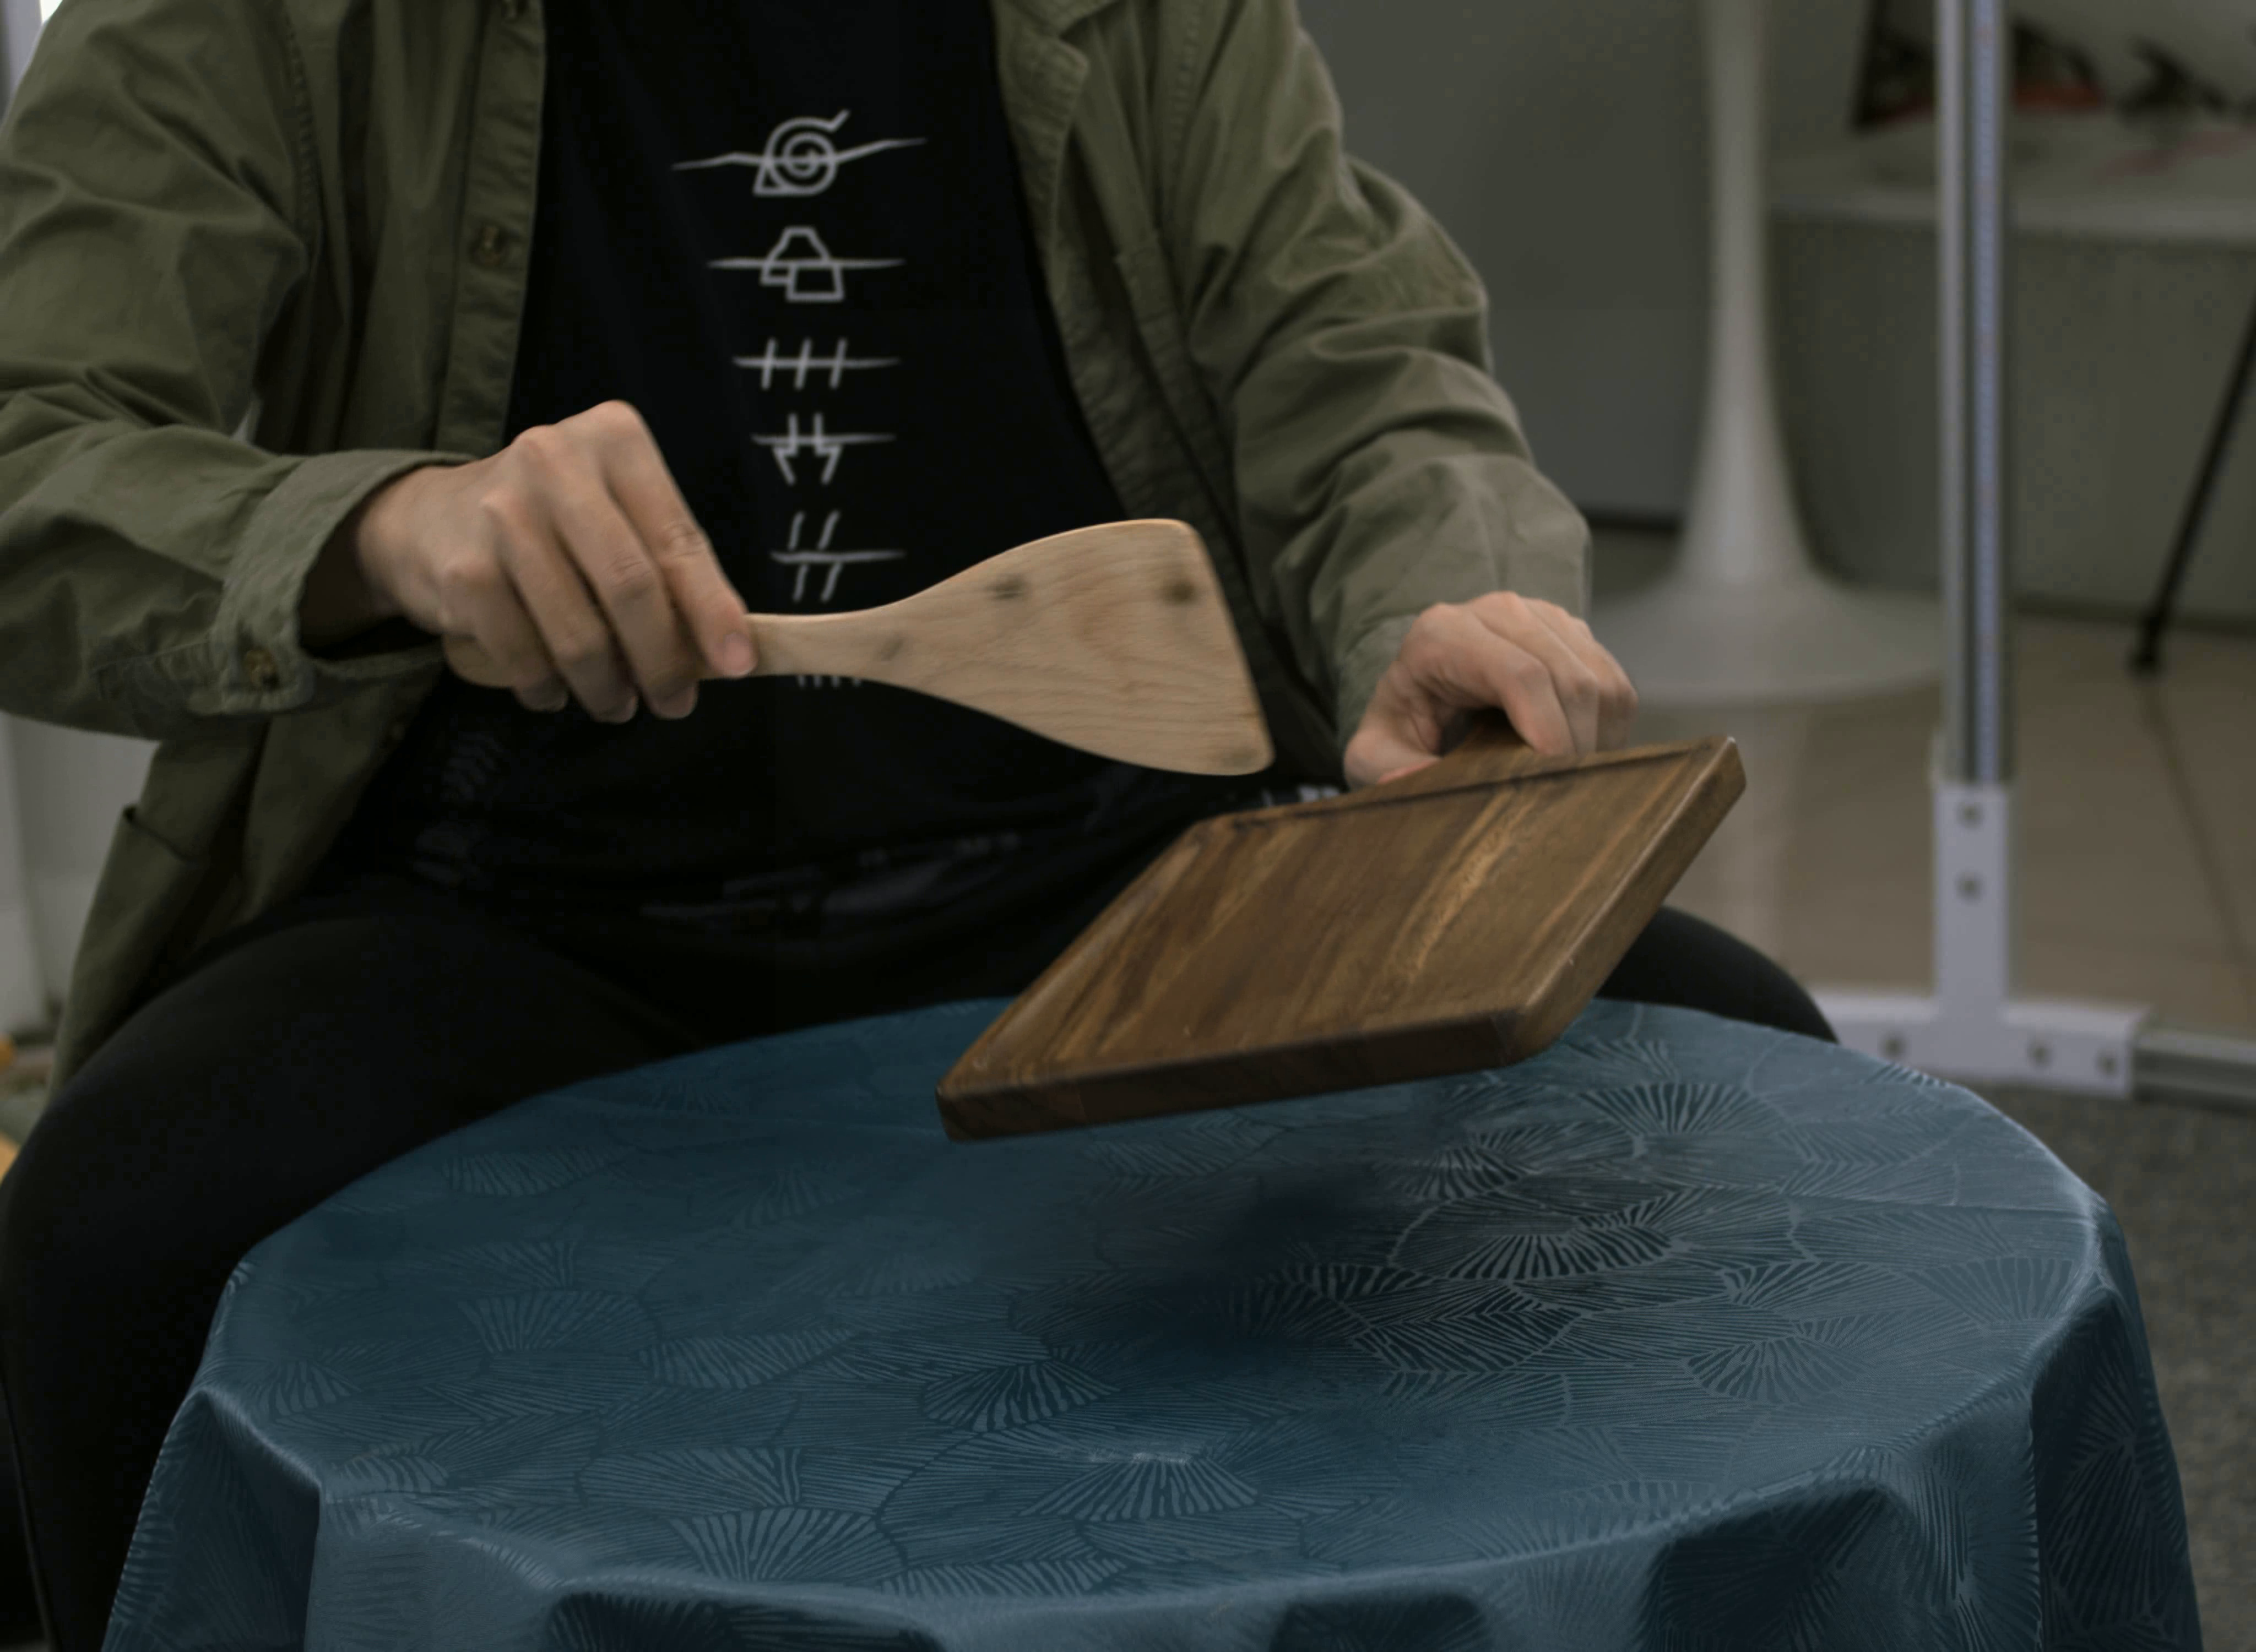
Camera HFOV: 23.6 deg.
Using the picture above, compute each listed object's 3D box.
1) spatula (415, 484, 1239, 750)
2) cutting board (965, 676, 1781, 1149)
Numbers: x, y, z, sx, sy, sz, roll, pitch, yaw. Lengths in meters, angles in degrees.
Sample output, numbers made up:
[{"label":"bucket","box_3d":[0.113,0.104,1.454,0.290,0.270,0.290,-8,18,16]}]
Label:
[{"label":"spatula","box_3d":[-0.101,-0.060,1.656,0.330,0.080,0.016,-1,18,37]},{"label":"cutting board","box_3d":[0.097,0.015,1.701,0.201,0.023,0.349,-11,15,26]}]
